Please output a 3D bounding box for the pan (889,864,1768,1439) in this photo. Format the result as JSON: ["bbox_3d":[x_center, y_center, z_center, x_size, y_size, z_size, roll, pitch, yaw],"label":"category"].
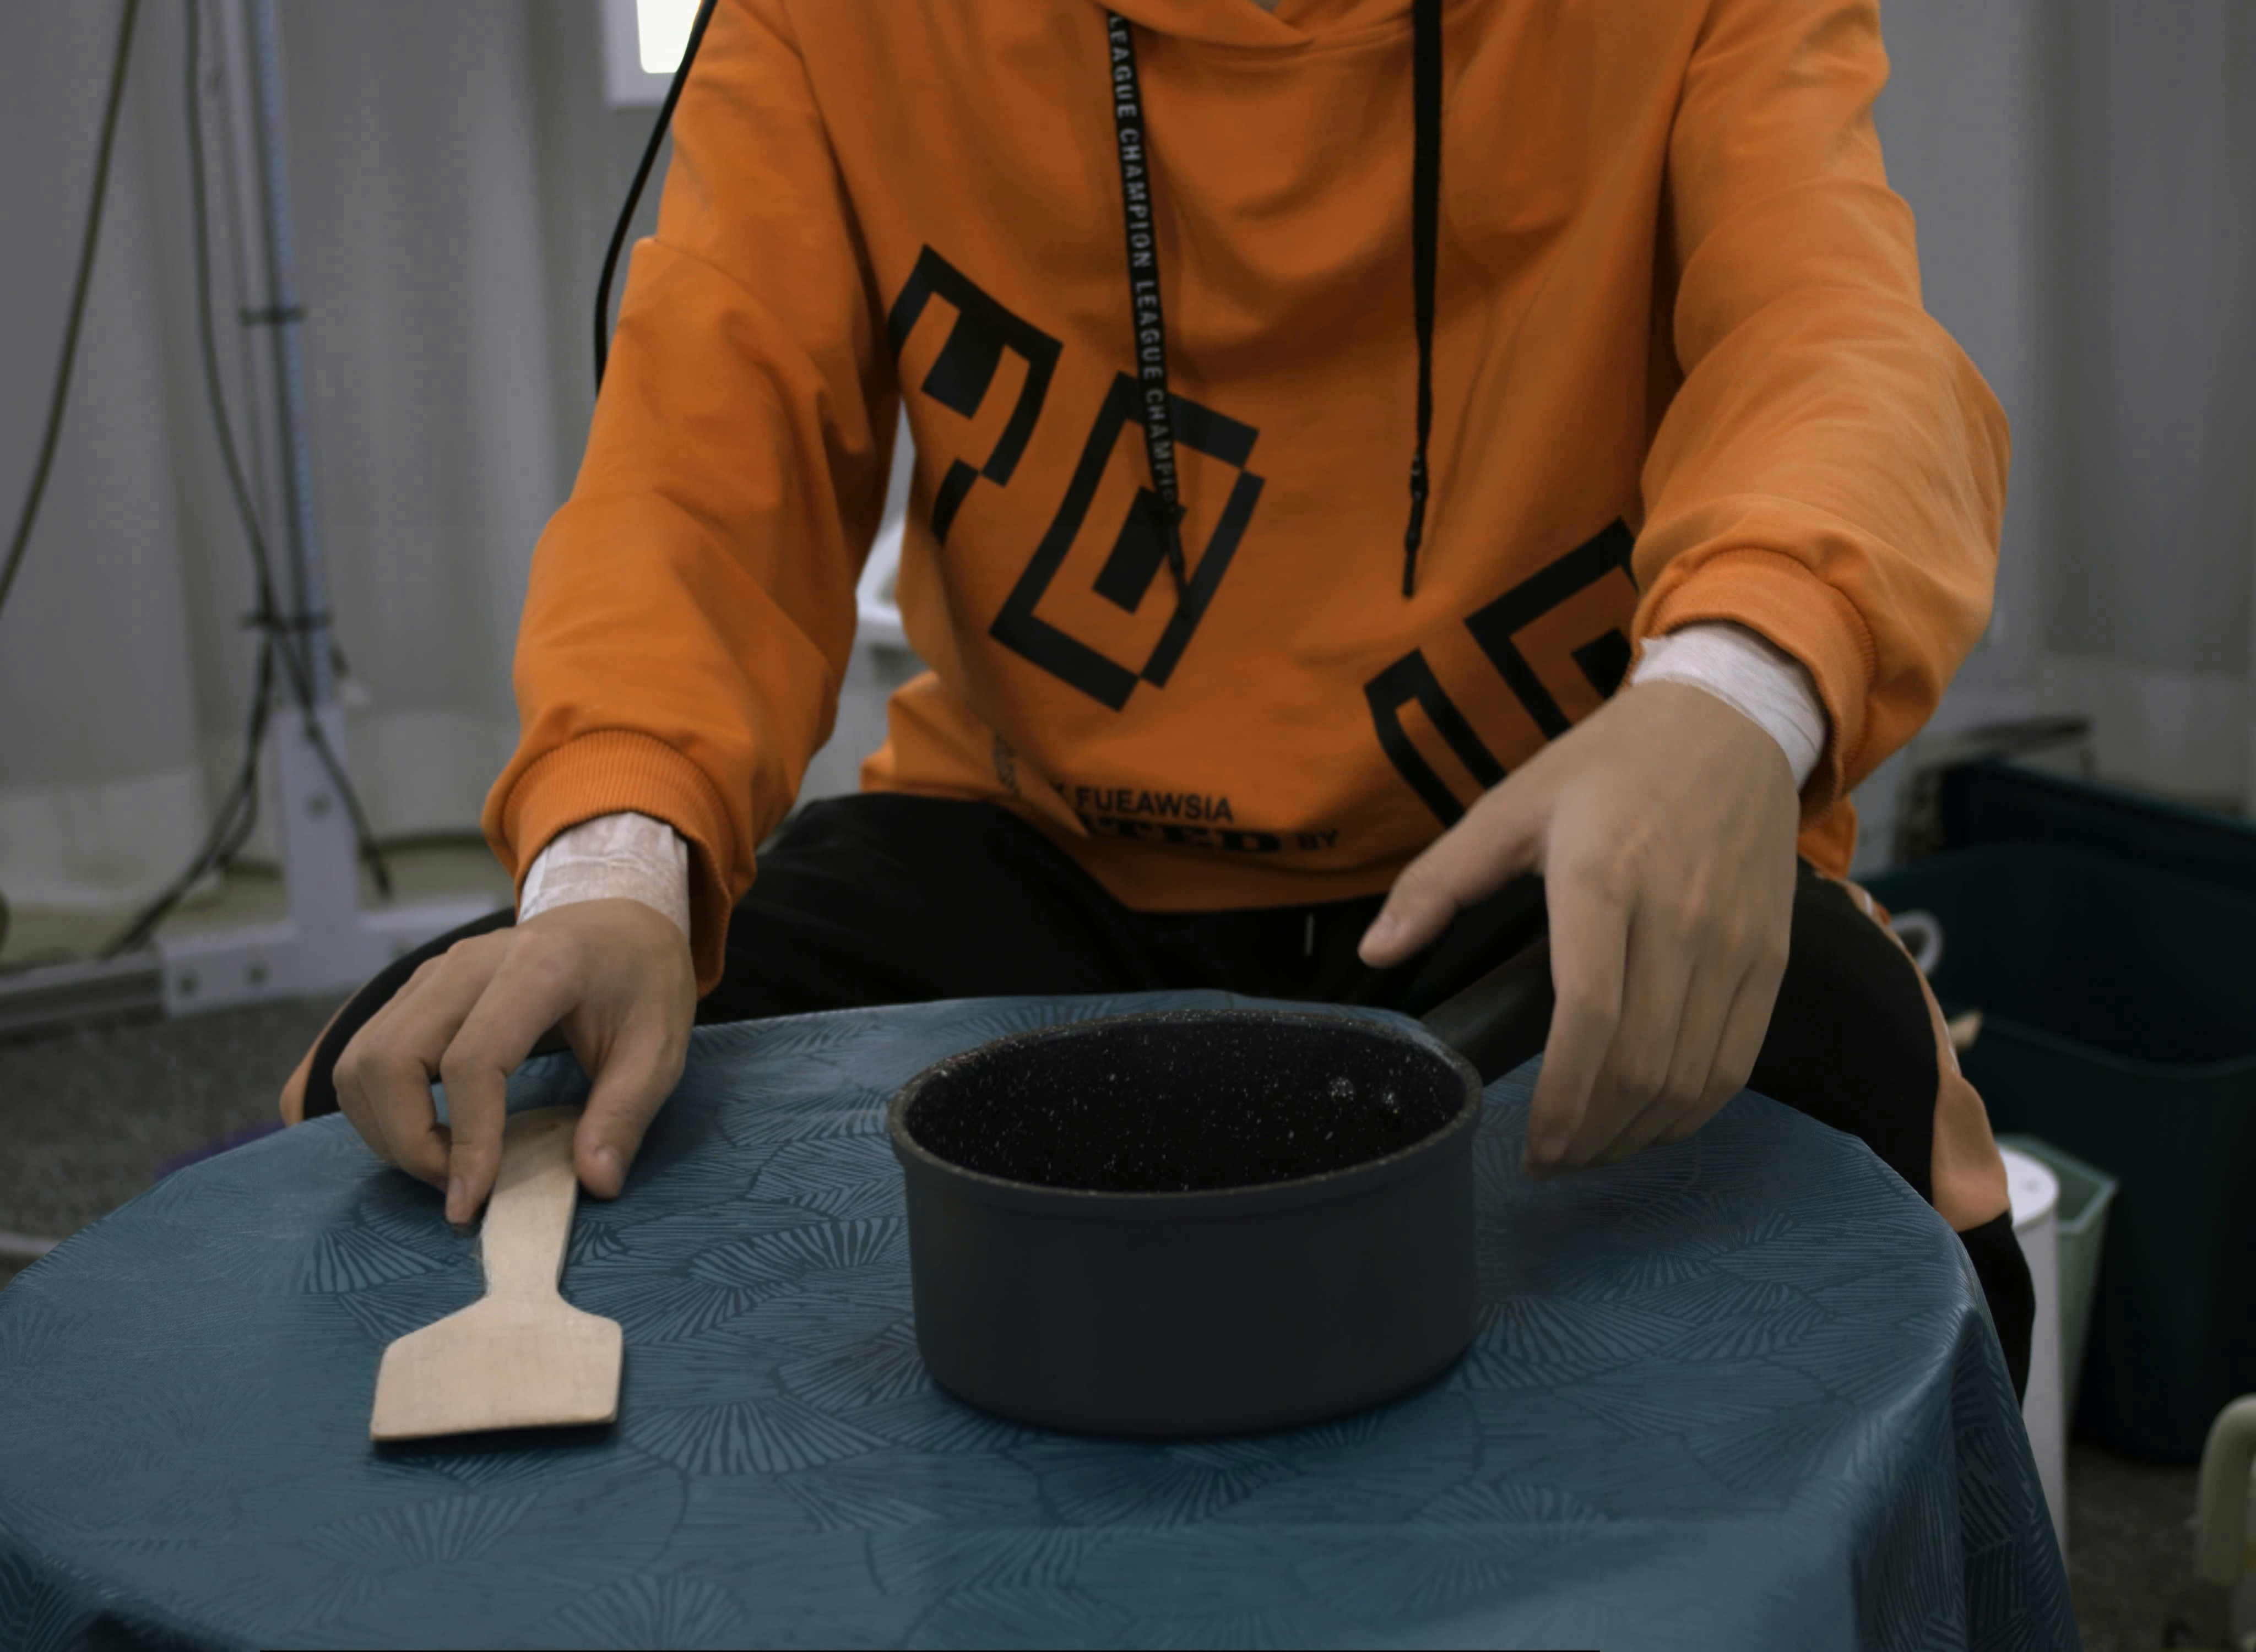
[{"bbox_3d":[0.074,0.092,1.622,0.328,0.086,0.173,-19,22,-41],"label":"pan"}]

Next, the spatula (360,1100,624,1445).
[{"bbox_3d":[-0.184,0.133,1.666,0.072,0.010,0.295,-7,15,0],"label":"spatula"}]
